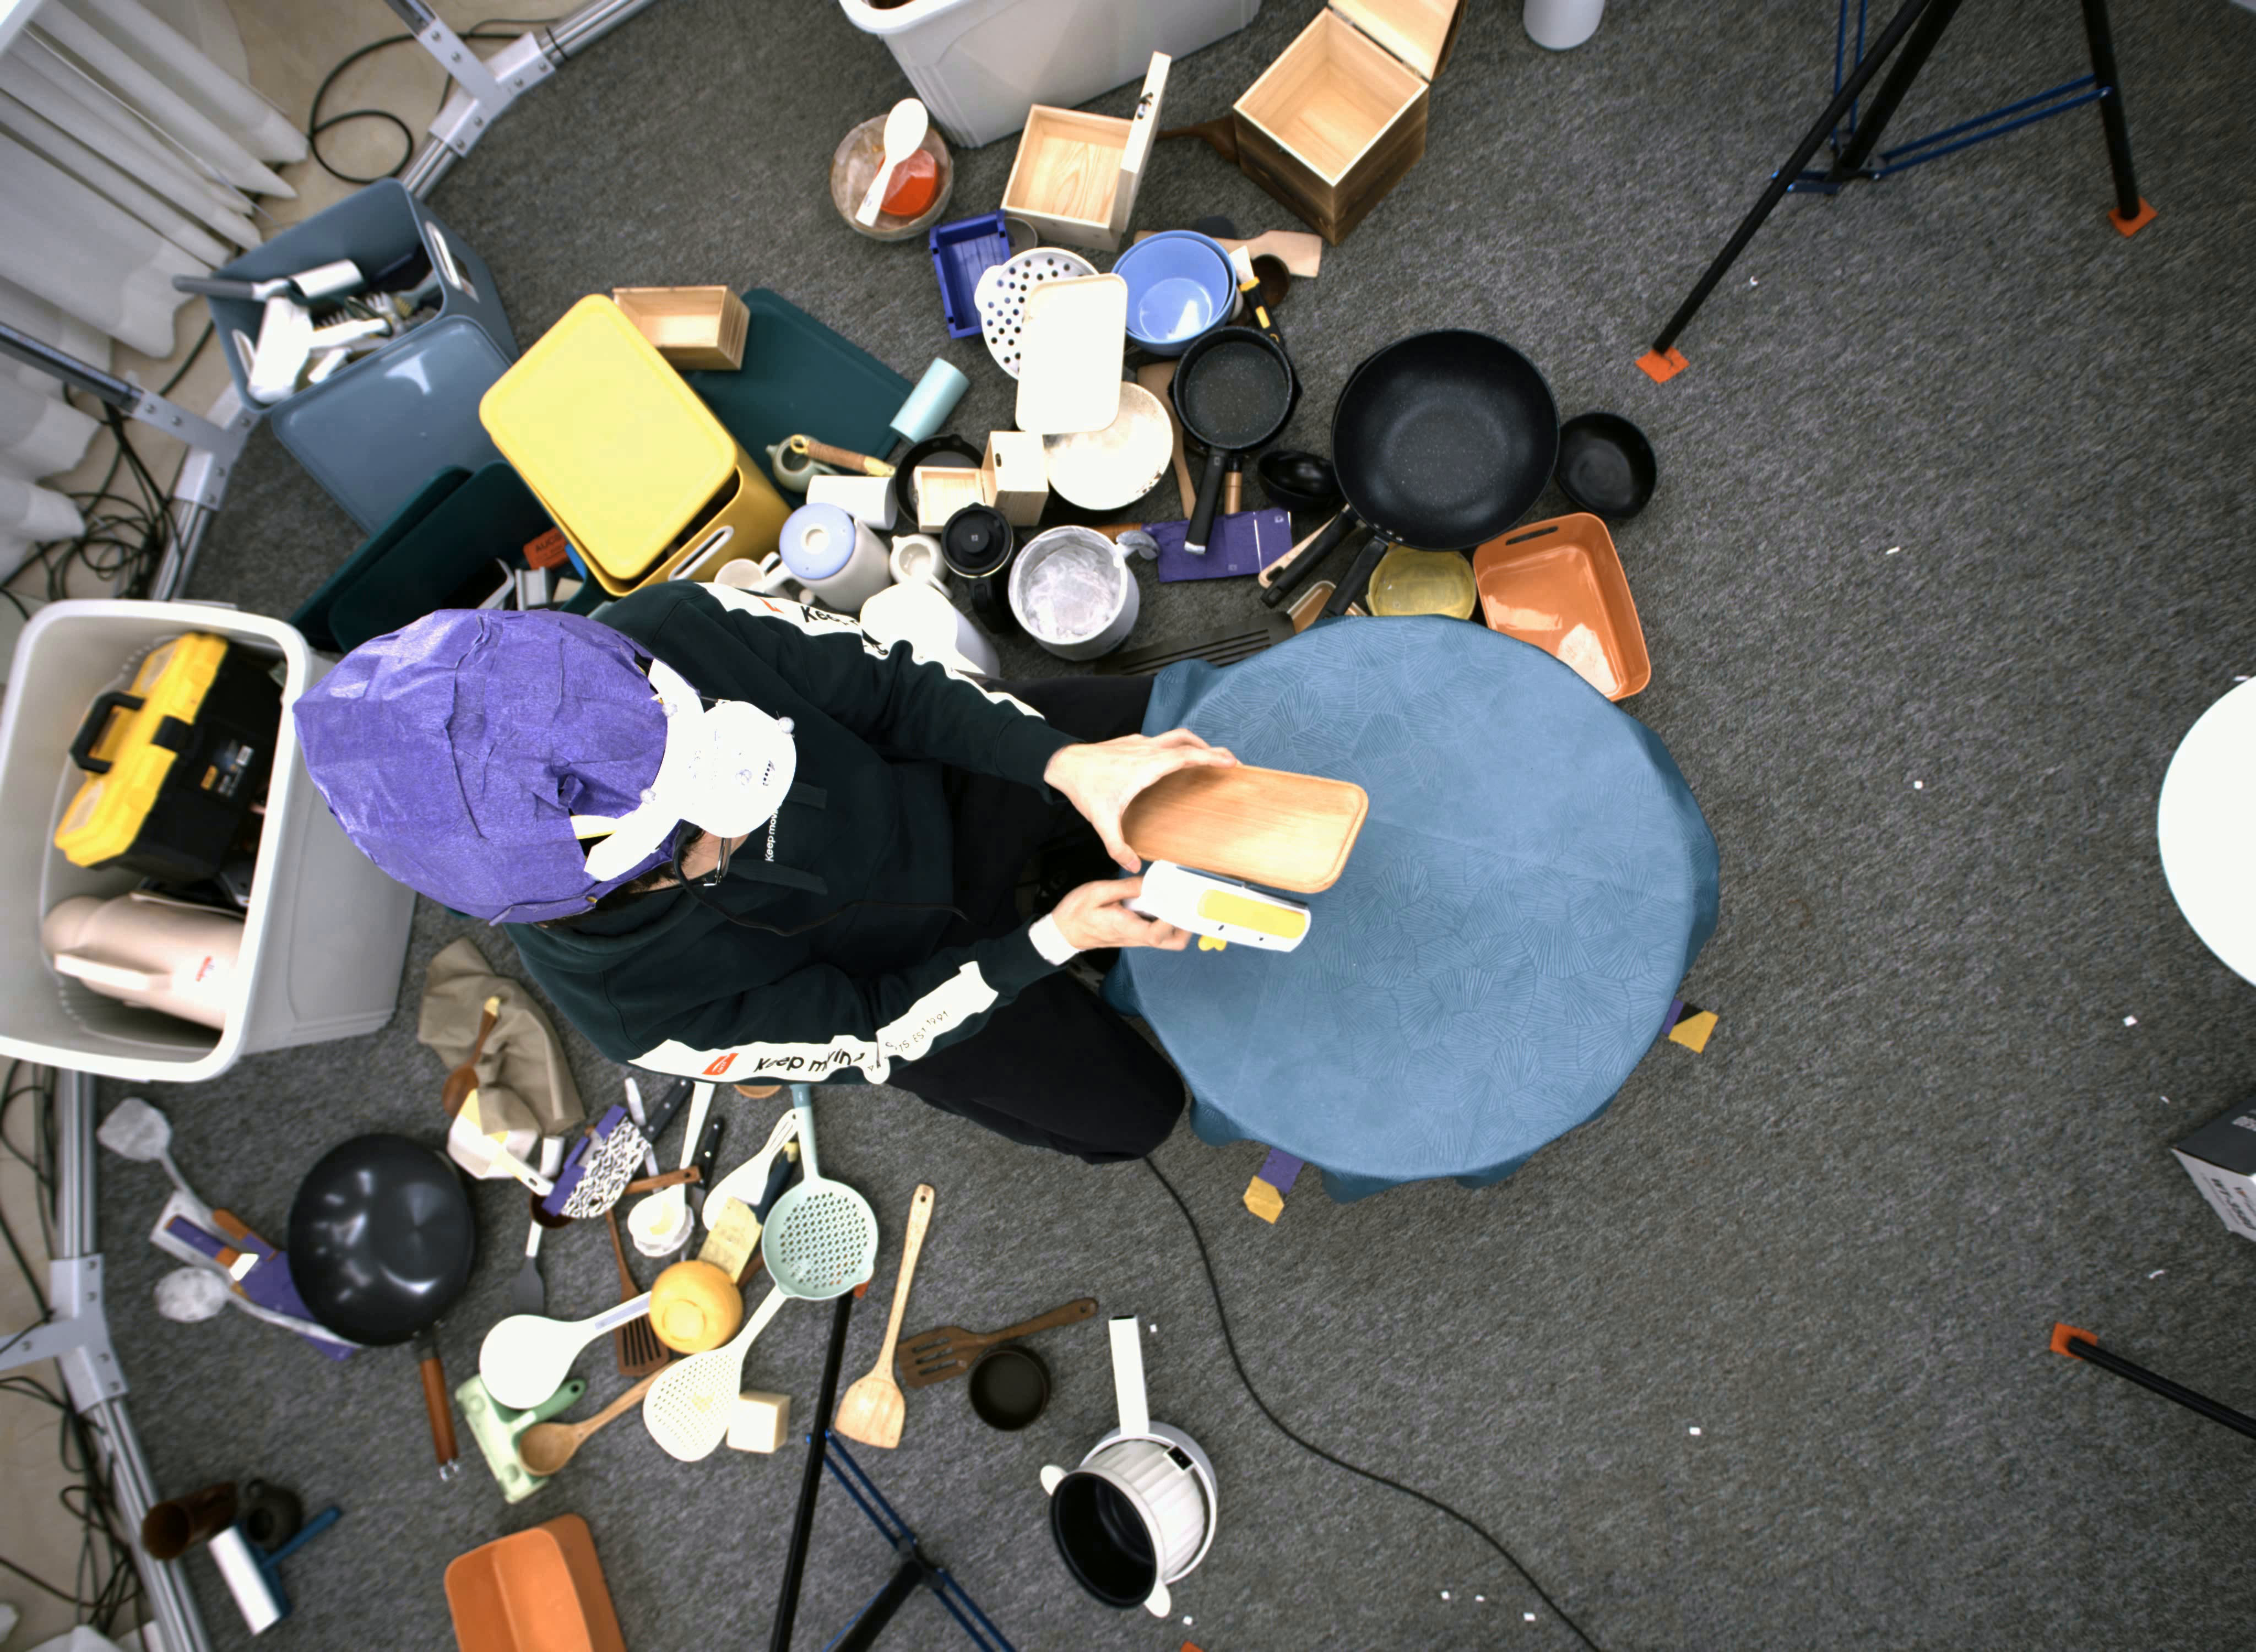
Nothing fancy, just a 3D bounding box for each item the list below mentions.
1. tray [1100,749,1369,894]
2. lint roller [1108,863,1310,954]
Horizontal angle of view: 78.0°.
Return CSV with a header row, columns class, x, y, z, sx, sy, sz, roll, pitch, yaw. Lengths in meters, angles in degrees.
class,x,y,z,sx,sy,sz,roll,pitch,yaw
tray,0.099,-0.007,1.319,0.251,0.023,0.127,12,57,30
lint roller,0.051,0.072,1.317,0.192,0.192,0.074,16,95,52
